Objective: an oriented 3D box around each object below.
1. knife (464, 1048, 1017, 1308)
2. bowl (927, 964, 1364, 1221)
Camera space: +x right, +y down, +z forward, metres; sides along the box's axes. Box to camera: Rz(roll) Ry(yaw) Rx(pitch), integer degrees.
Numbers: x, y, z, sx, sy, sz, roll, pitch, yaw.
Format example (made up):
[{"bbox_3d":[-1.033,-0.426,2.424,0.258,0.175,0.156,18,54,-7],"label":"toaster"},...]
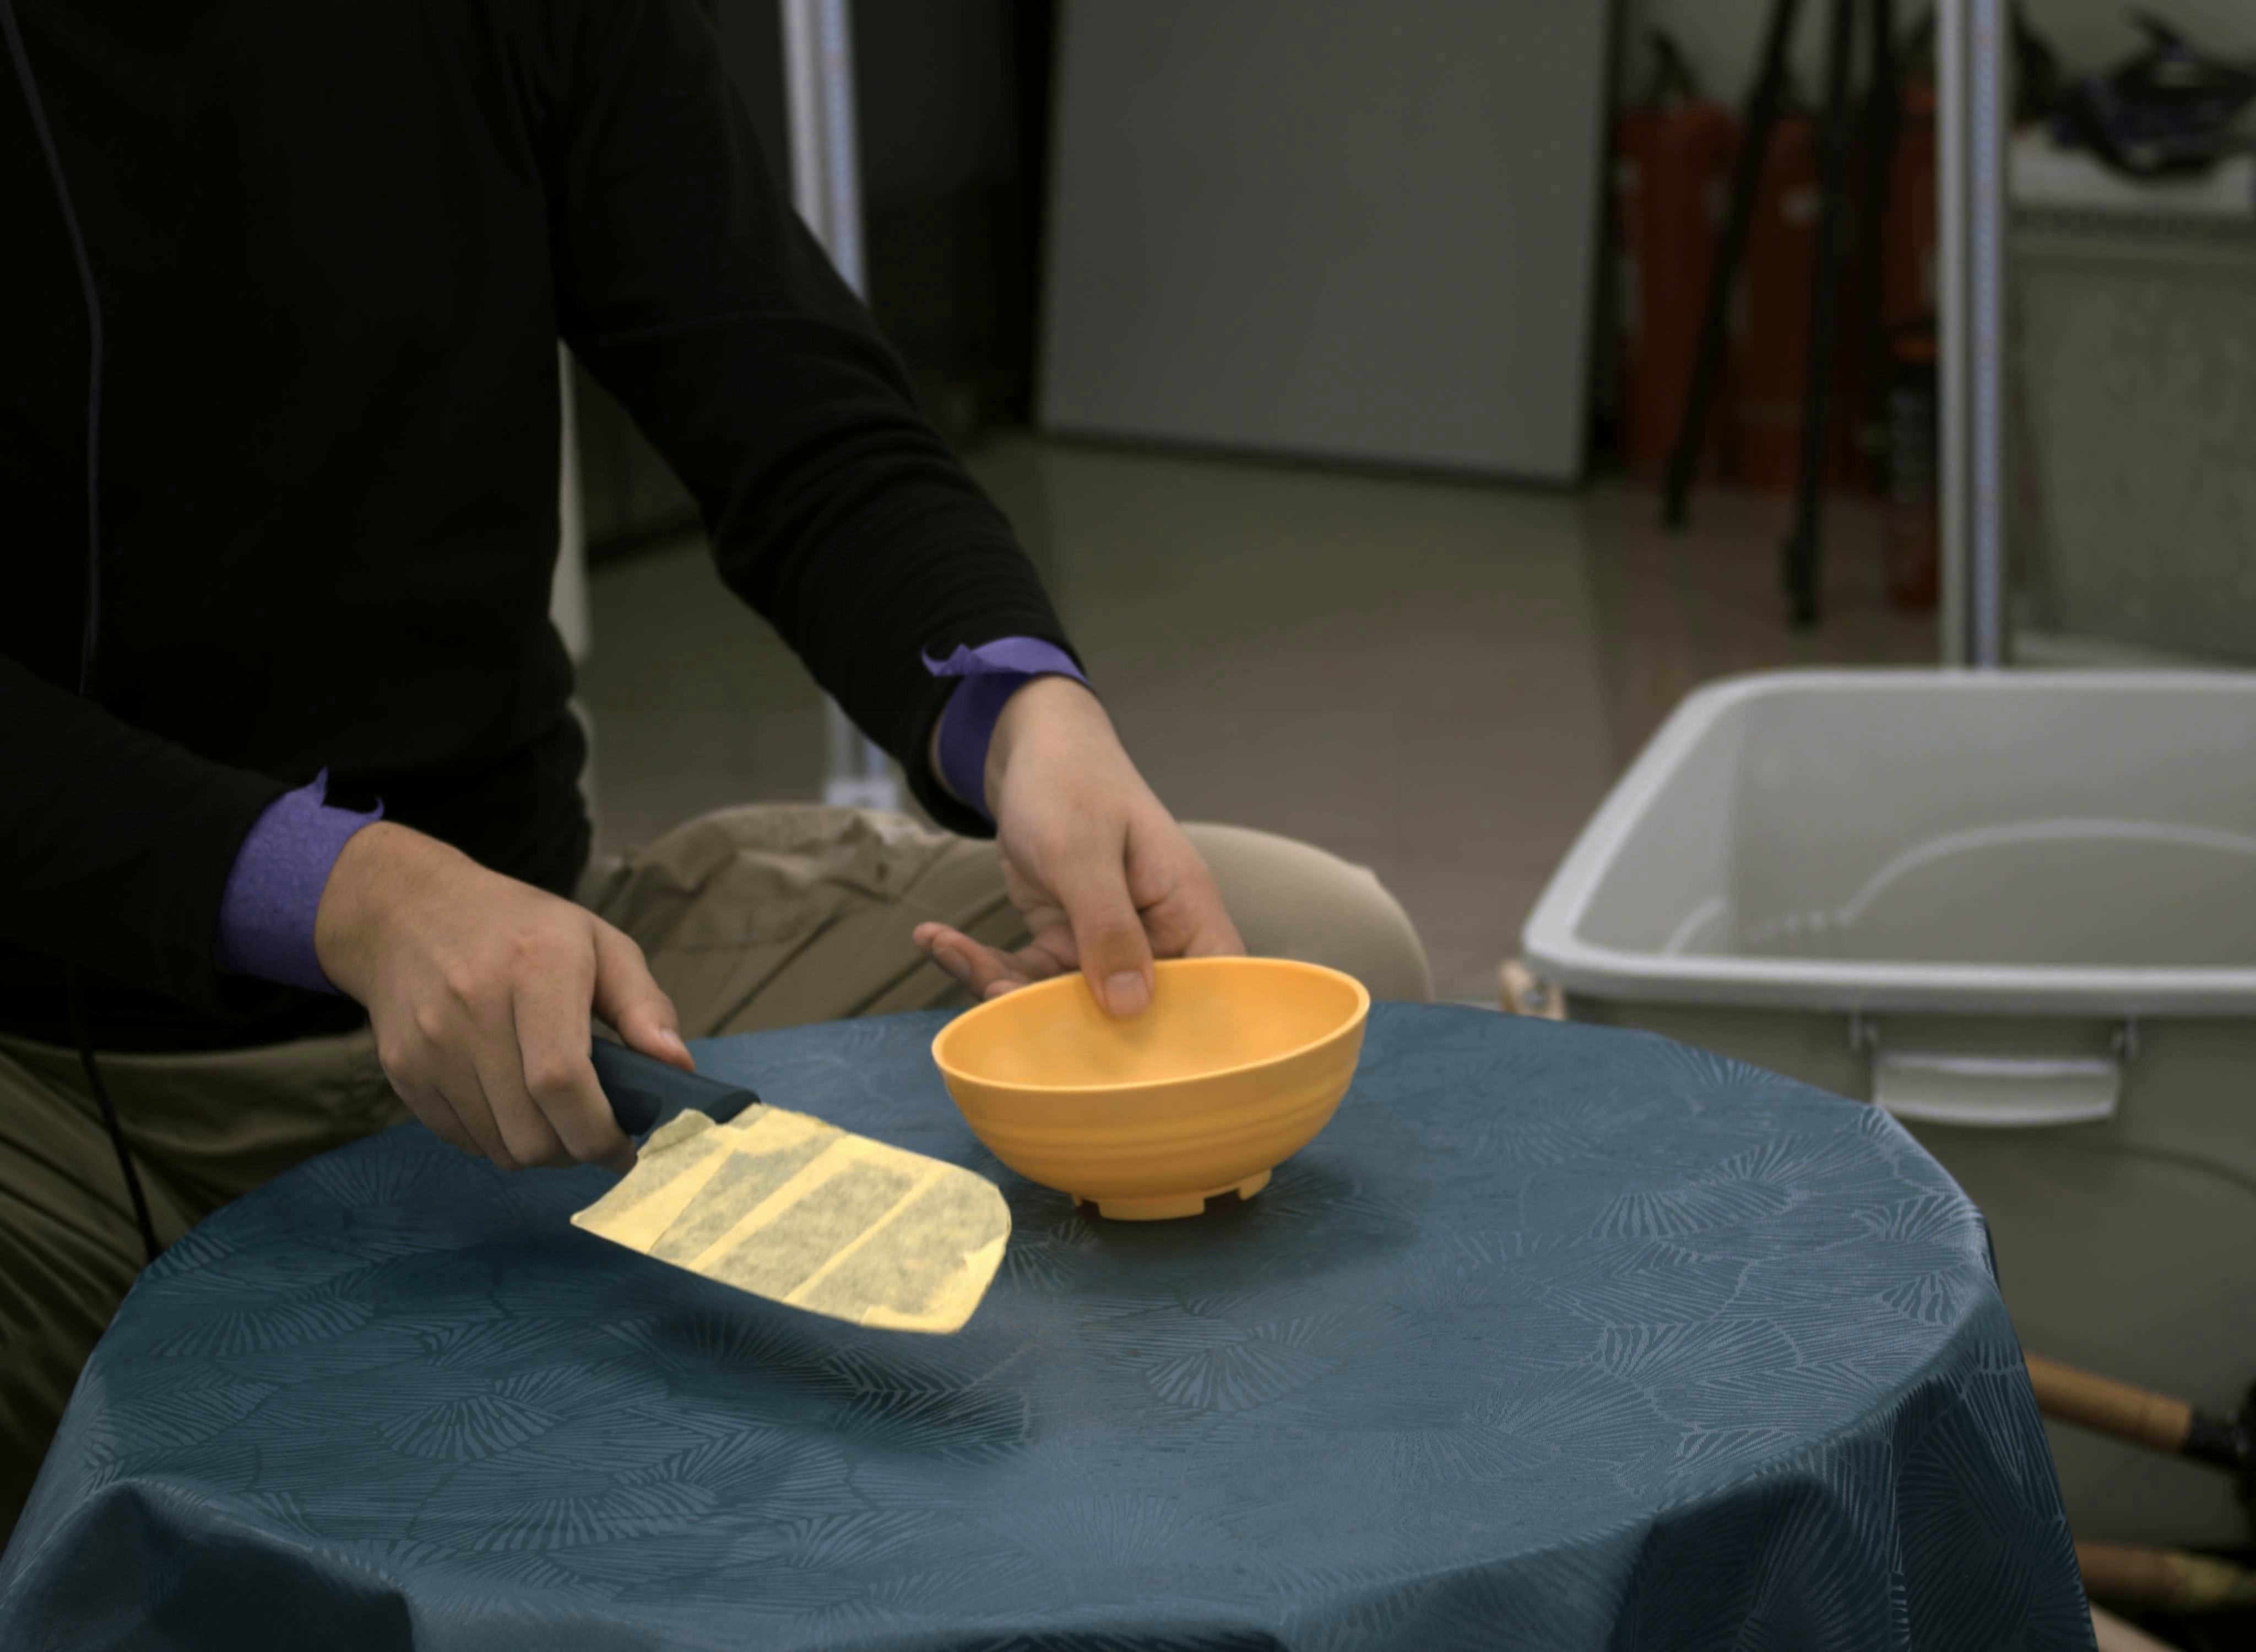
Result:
[{"bbox_3d":[-0.130,0.108,1.671,0.080,0.027,0.292,-35,28,-28],"label":"knife"},{"bbox_3d":[0.008,0.091,1.762,0.143,0.061,0.145,-5,13,0],"label":"bowl"}]
